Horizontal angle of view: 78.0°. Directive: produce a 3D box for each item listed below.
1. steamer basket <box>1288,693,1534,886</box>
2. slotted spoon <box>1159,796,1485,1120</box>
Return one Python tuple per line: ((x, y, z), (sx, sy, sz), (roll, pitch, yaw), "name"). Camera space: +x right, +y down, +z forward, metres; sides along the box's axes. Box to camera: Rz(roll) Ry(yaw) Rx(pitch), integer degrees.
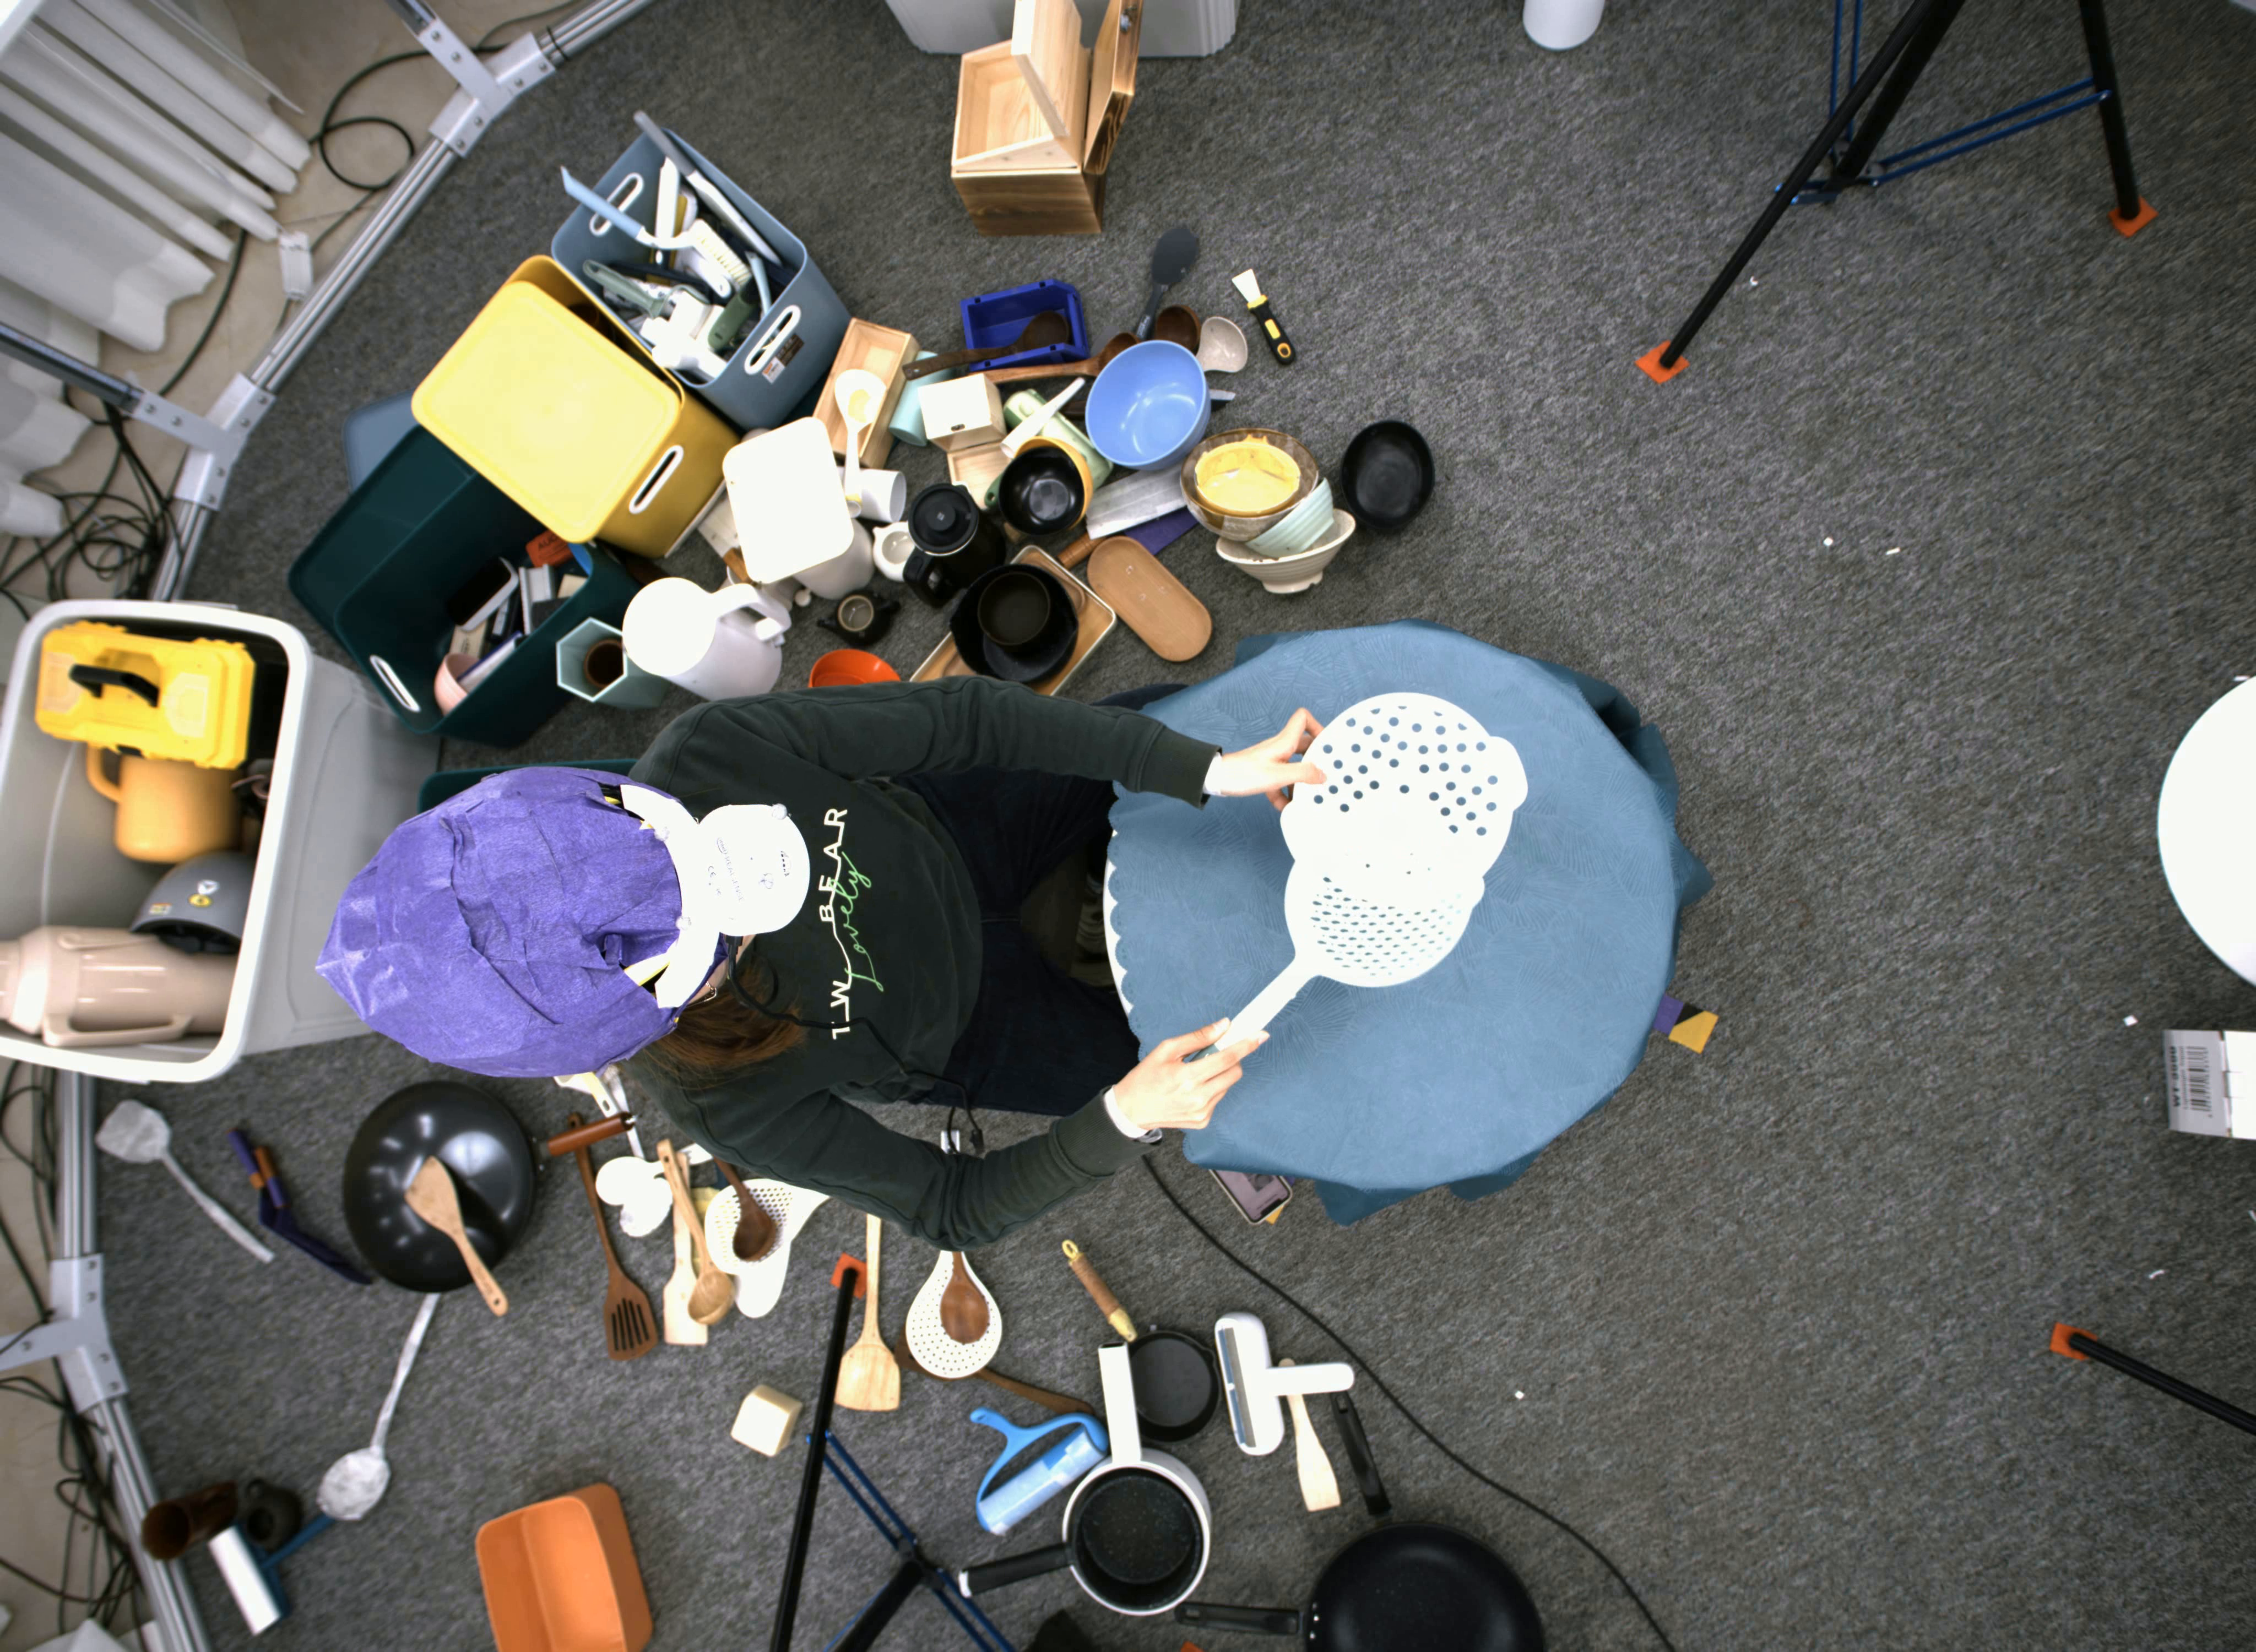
((0.268, -0.029, 1.309), (0.233, 0.068, 0.203), (-20, 101, 20), "steamer basket")
((0.158, 0.129, 1.237), (0.357, 0.076, 0.167), (-40, 54, -6), "slotted spoon")
